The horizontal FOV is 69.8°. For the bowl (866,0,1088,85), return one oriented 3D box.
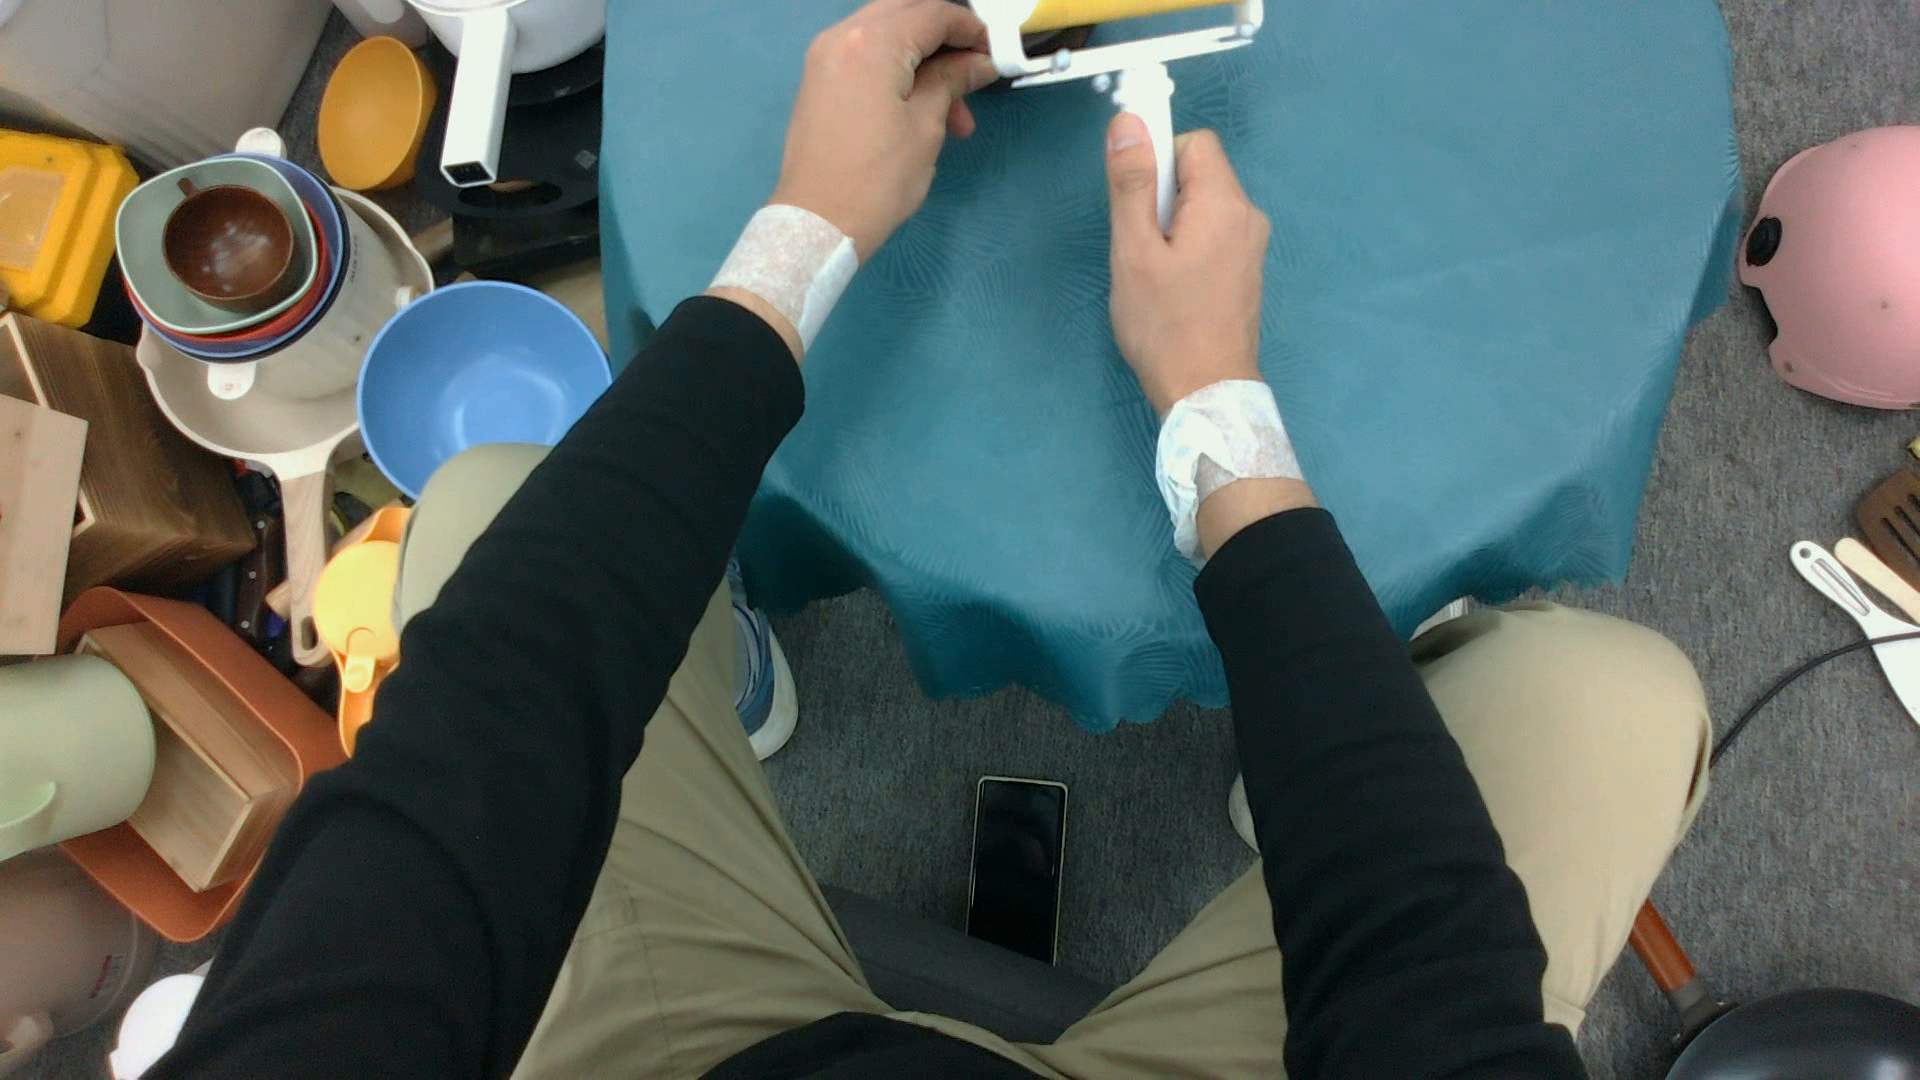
[{"bbox_3d":[0.009,-0.288,0.708,0.118,0.070,0.118,0,79,2],"label":"bowl"}]

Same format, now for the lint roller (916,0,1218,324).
[{"bbox_3d":[0.081,-0.194,0.633,0.175,0.051,0.192,-32,103,-36],"label":"lint roller"}]
